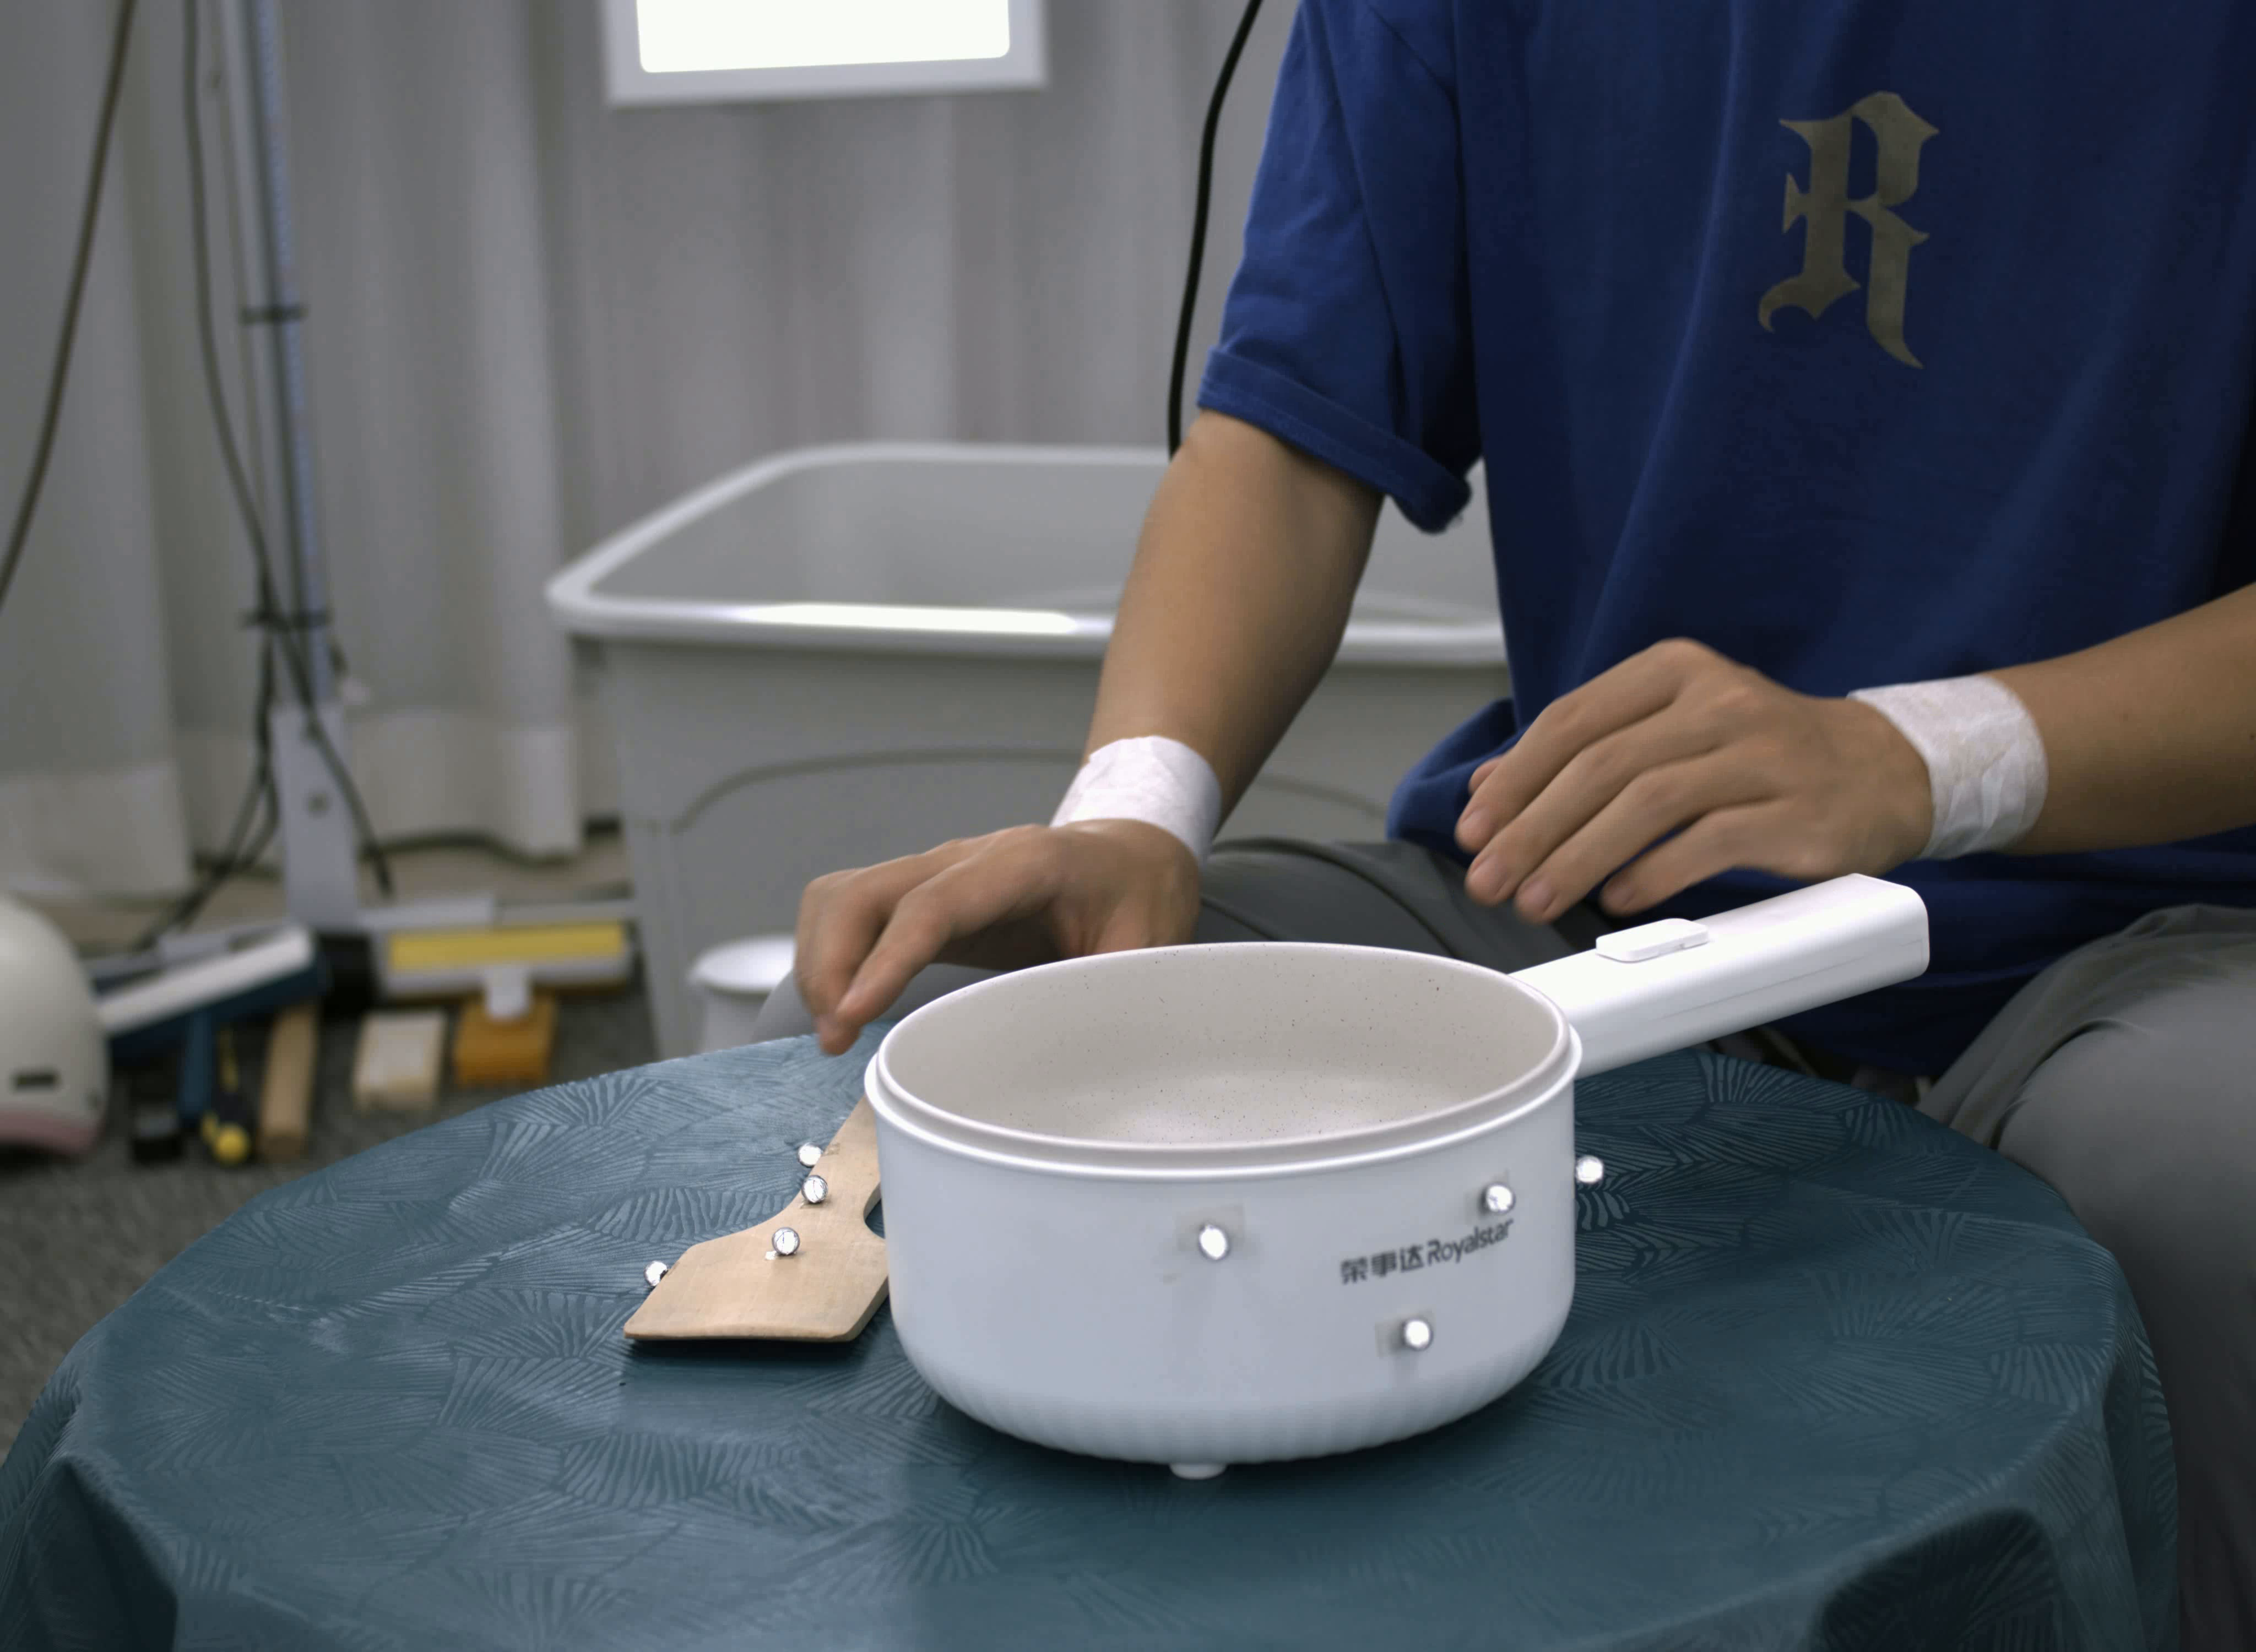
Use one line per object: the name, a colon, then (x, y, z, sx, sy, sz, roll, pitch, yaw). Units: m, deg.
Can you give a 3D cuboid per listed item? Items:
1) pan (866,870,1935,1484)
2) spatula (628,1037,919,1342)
pan: (0.091, 0.095, 1.579, 0.353, 0.102, 0.202, -13, 16, -34)
spatula: (-0.088, 0.112, 1.720, 0.072, 0.010, 0.294, -1, 15, 11)
